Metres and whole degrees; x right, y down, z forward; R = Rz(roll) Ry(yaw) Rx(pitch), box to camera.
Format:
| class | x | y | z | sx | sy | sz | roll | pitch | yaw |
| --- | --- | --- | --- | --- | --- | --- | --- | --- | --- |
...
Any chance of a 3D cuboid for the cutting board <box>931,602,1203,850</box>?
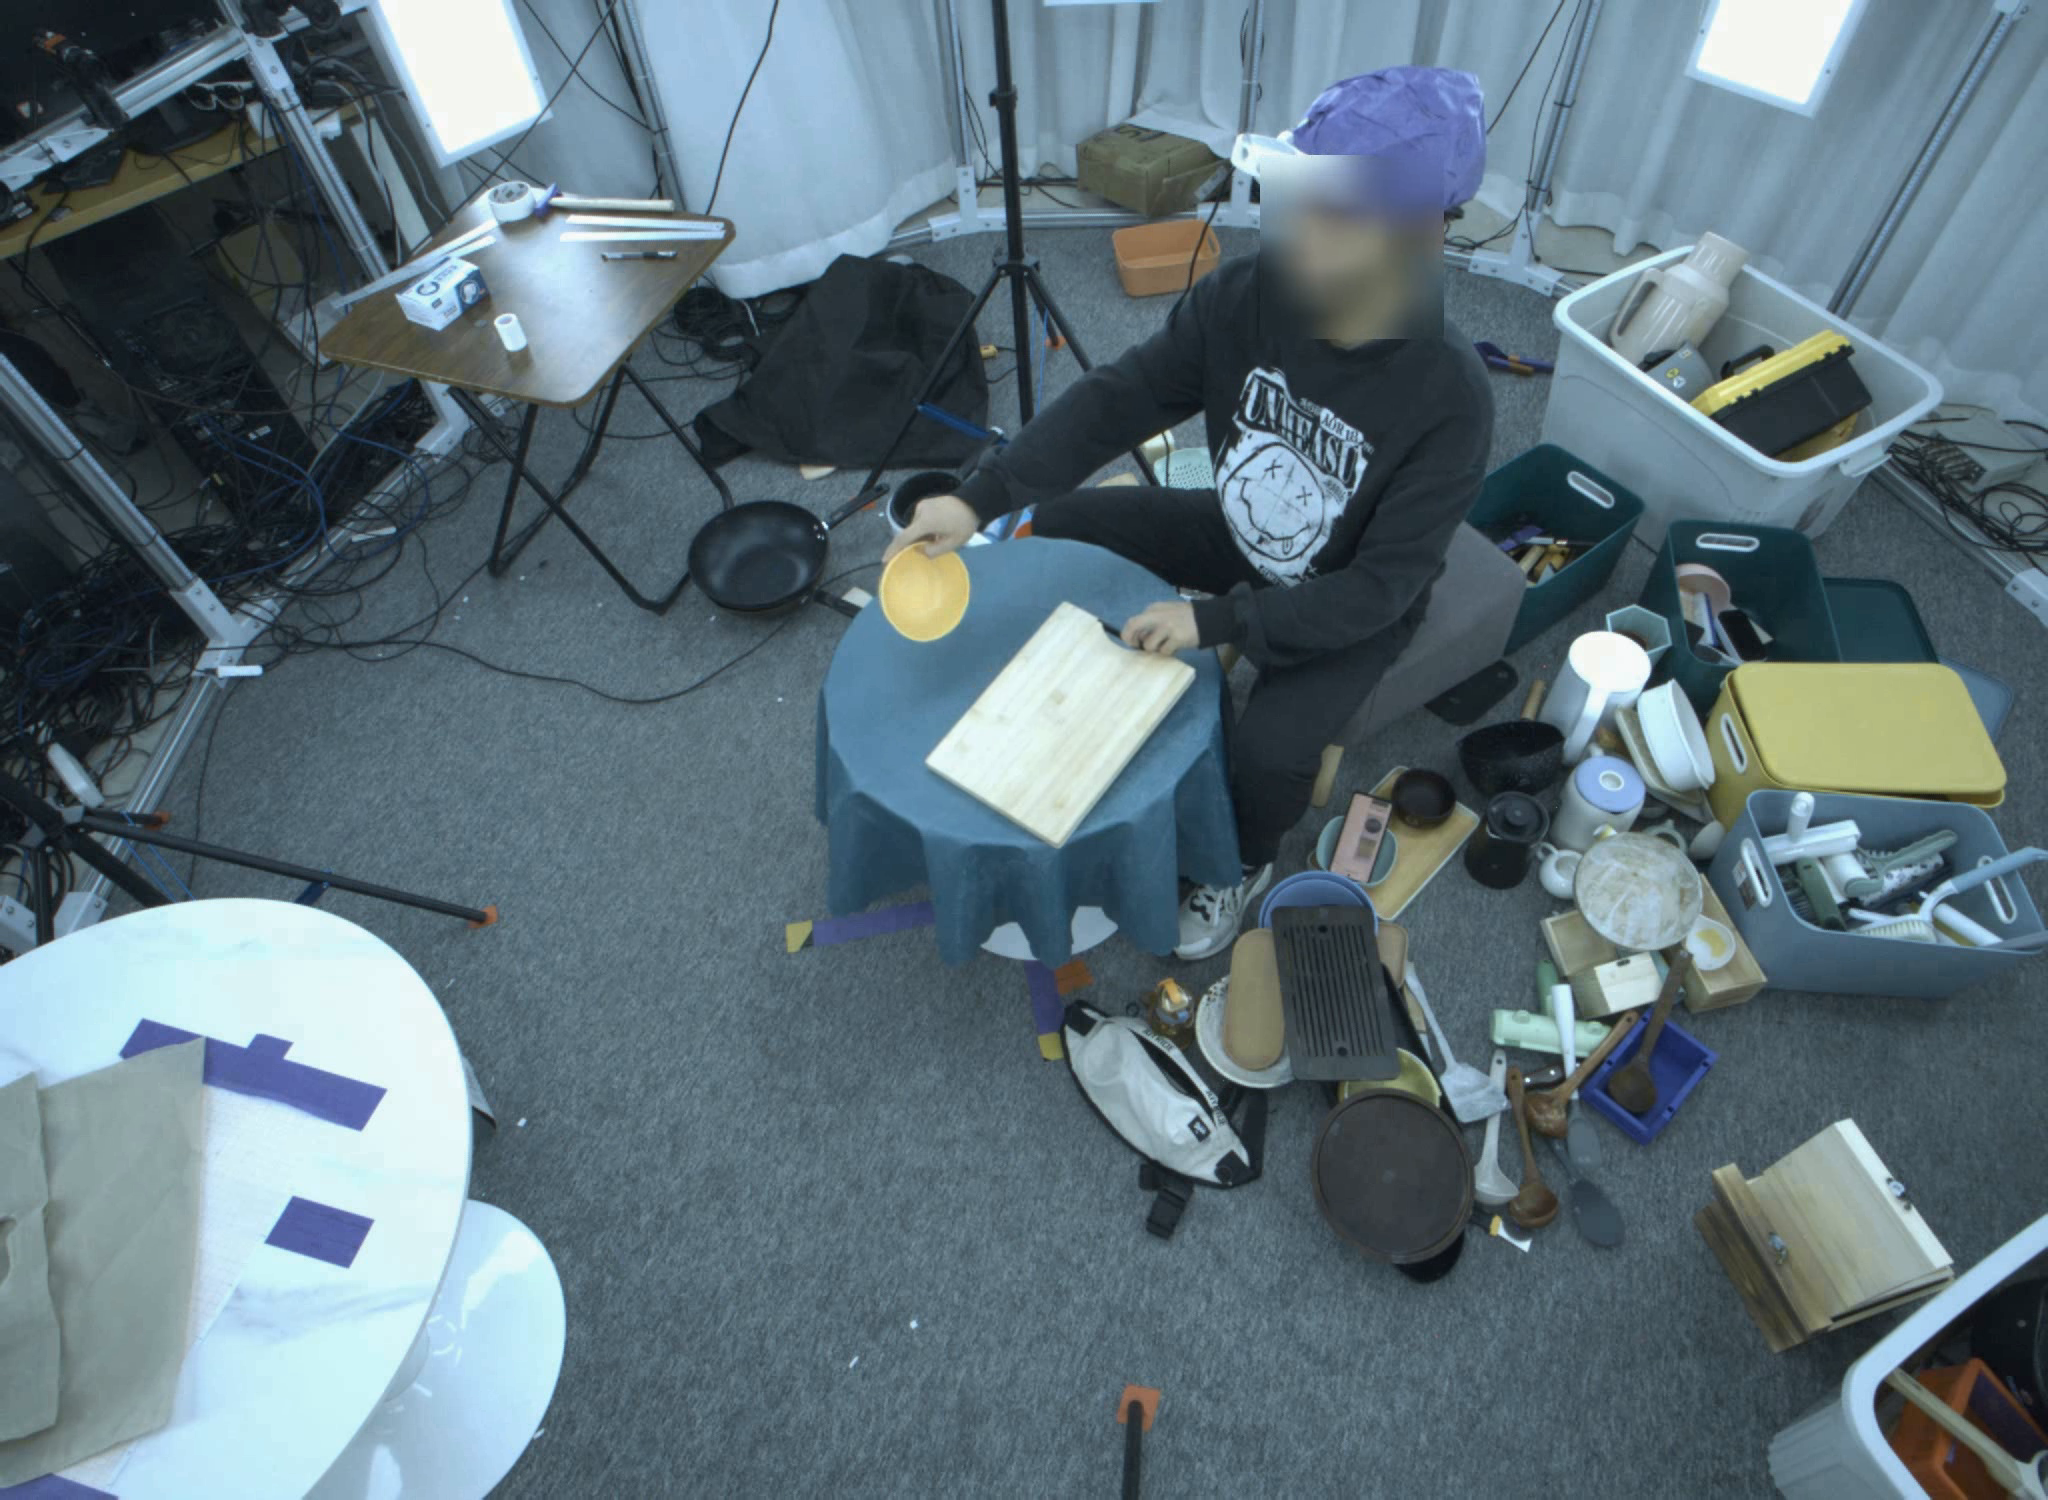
| class | x | y | z | sx | sy | sz | roll | pitch | yaw |
| --- | --- | --- | --- | --- | --- | --- | --- | --- | --- |
| cutting board | 0.062 | -0.044 | 1.792 | 0.247 | 0.024 | 0.350 | 30 | 68 | 21 |

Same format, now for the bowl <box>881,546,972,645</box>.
| class | x | y | z | sx | sy | sz | roll | pitch | yaw |
| --- | --- | --- | --- | --- | --- | --- | --- | --- | --- |
| bowl | -0.153 | -0.229 | 1.788 | 0.146 | 0.147 | 0.059 | -36 | 32 | -20 |
